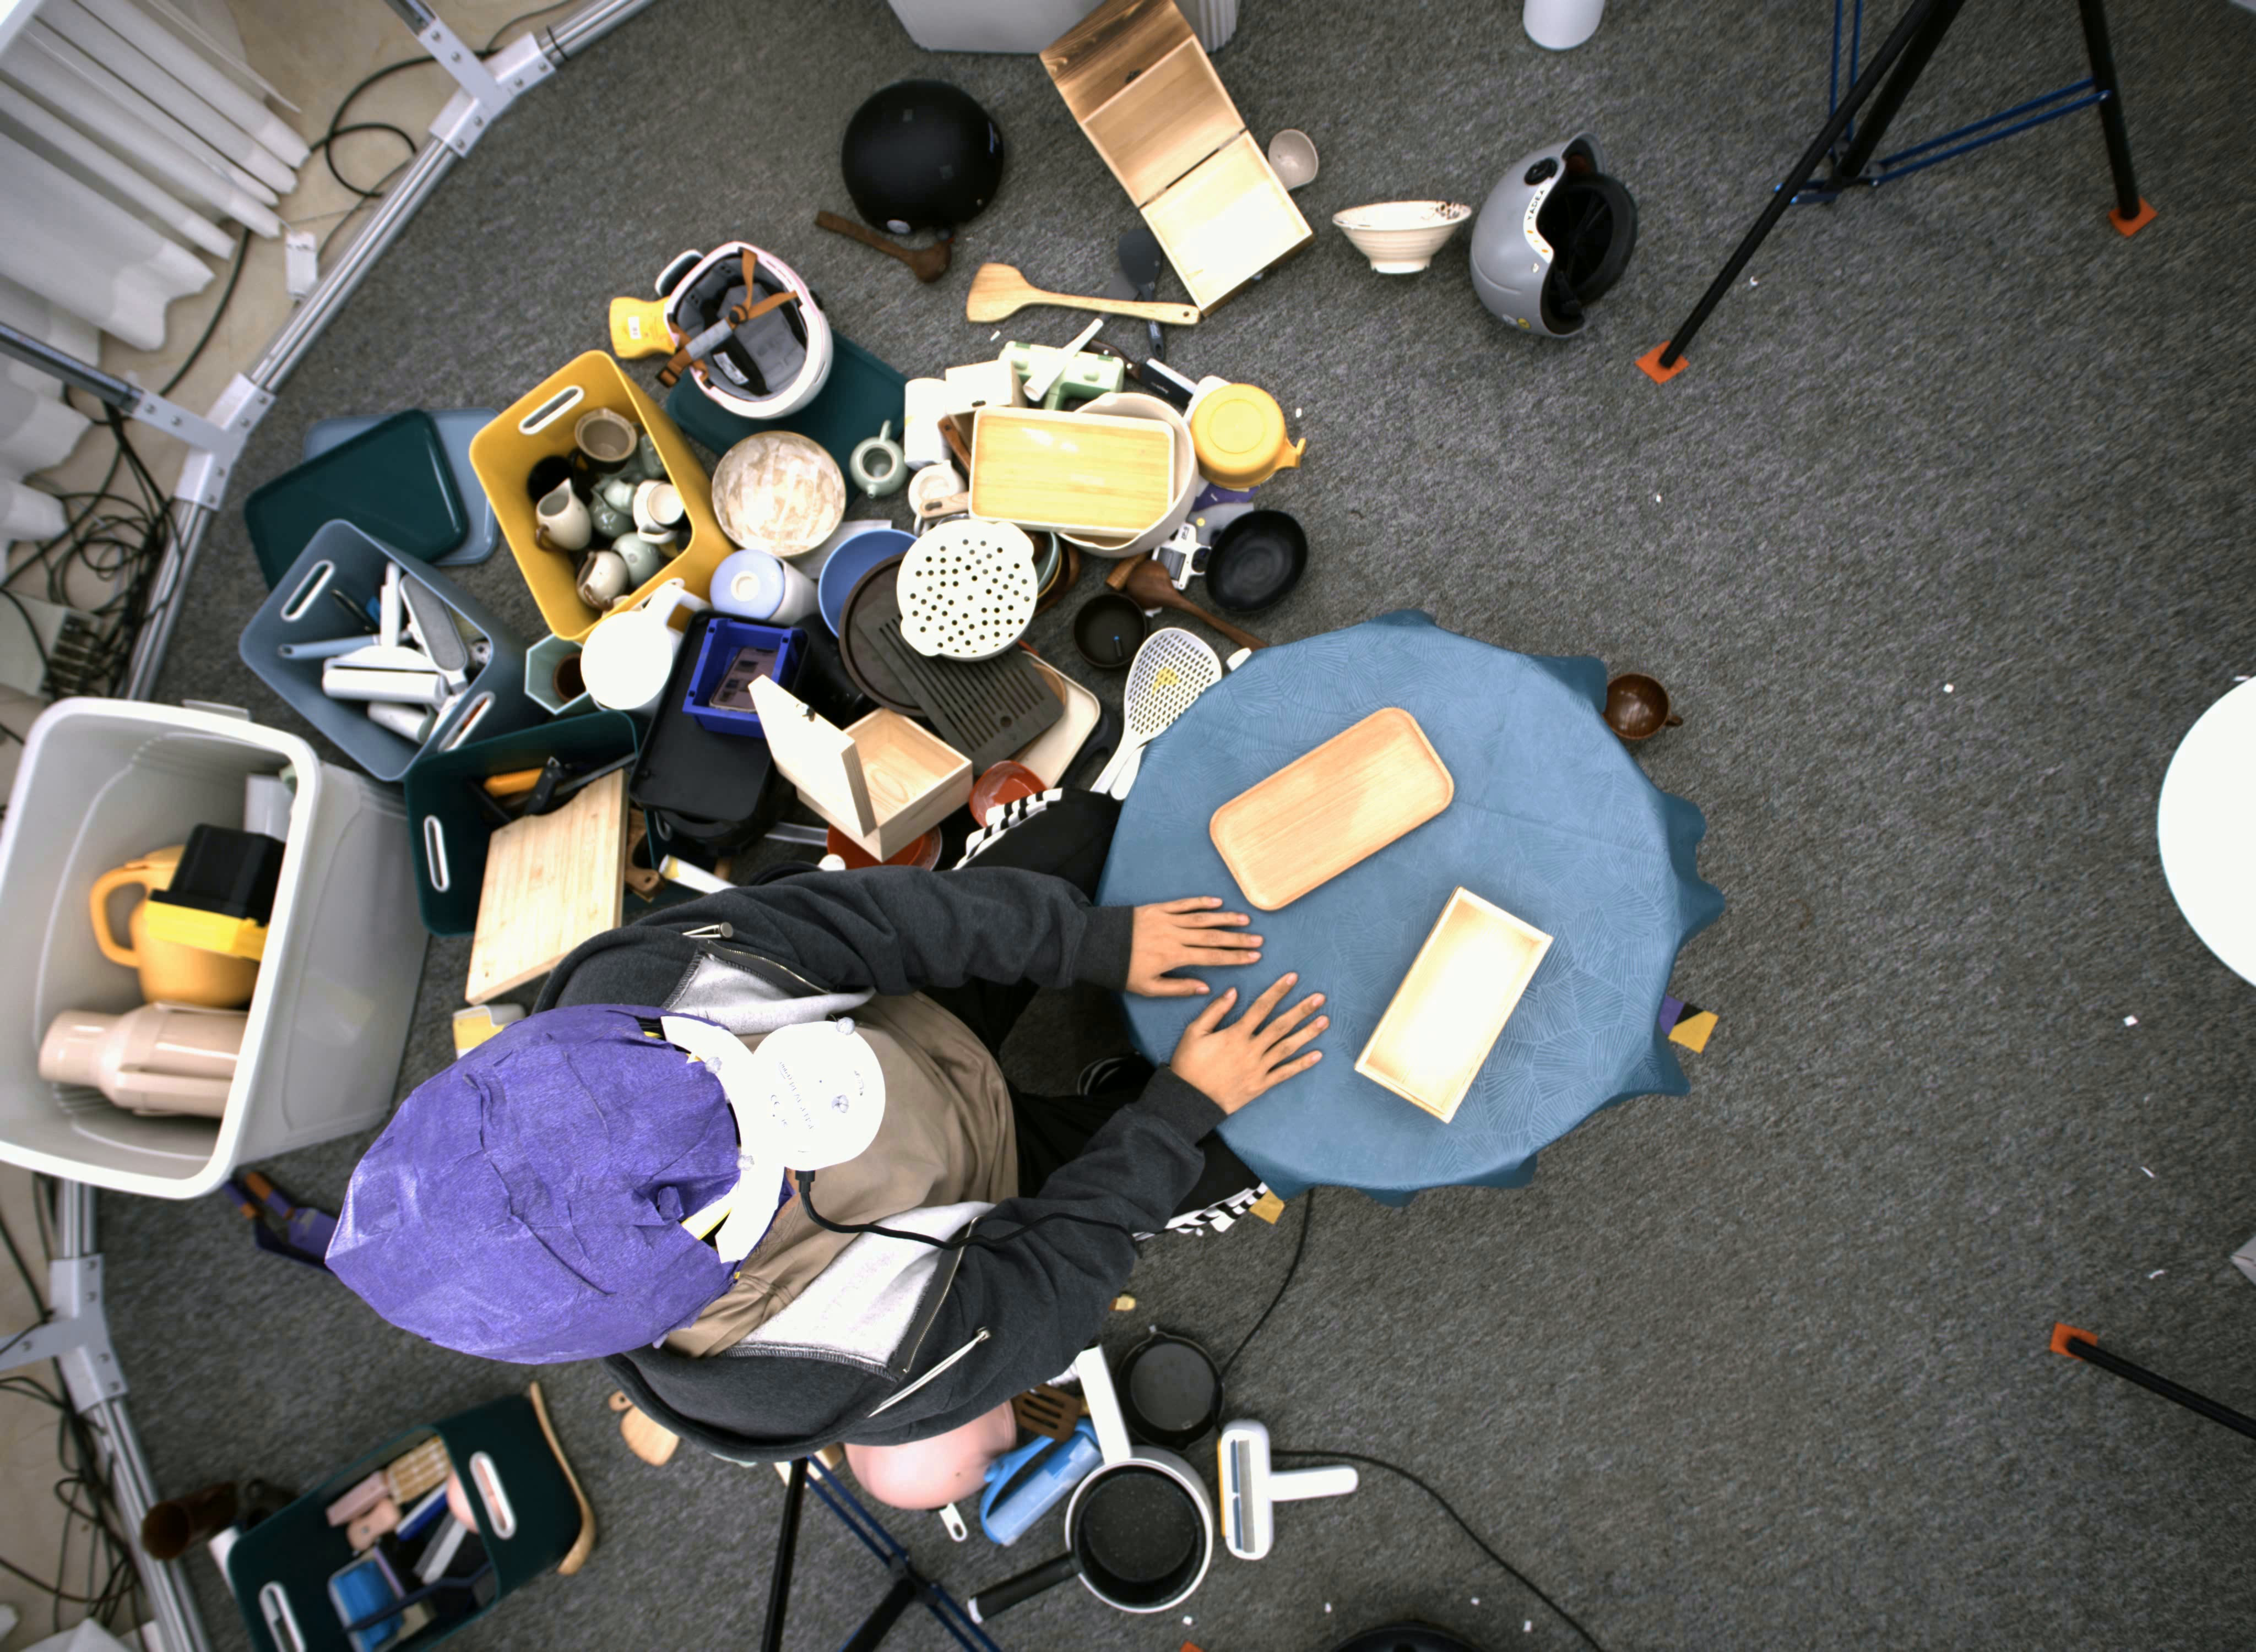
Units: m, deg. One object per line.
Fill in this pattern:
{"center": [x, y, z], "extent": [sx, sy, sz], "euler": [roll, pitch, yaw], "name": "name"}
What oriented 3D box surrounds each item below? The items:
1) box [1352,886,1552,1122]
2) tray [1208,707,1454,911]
{"center": [0.327, 0.178, 1.403], "extent": [0.107, 0.080, 0.212], "euler": [30, 92, 11], "name": "box"}
{"center": [0.214, -0.018, 1.466], "extent": [0.252, 0.023, 0.129], "euler": [-31, 79, 8], "name": "tray"}
